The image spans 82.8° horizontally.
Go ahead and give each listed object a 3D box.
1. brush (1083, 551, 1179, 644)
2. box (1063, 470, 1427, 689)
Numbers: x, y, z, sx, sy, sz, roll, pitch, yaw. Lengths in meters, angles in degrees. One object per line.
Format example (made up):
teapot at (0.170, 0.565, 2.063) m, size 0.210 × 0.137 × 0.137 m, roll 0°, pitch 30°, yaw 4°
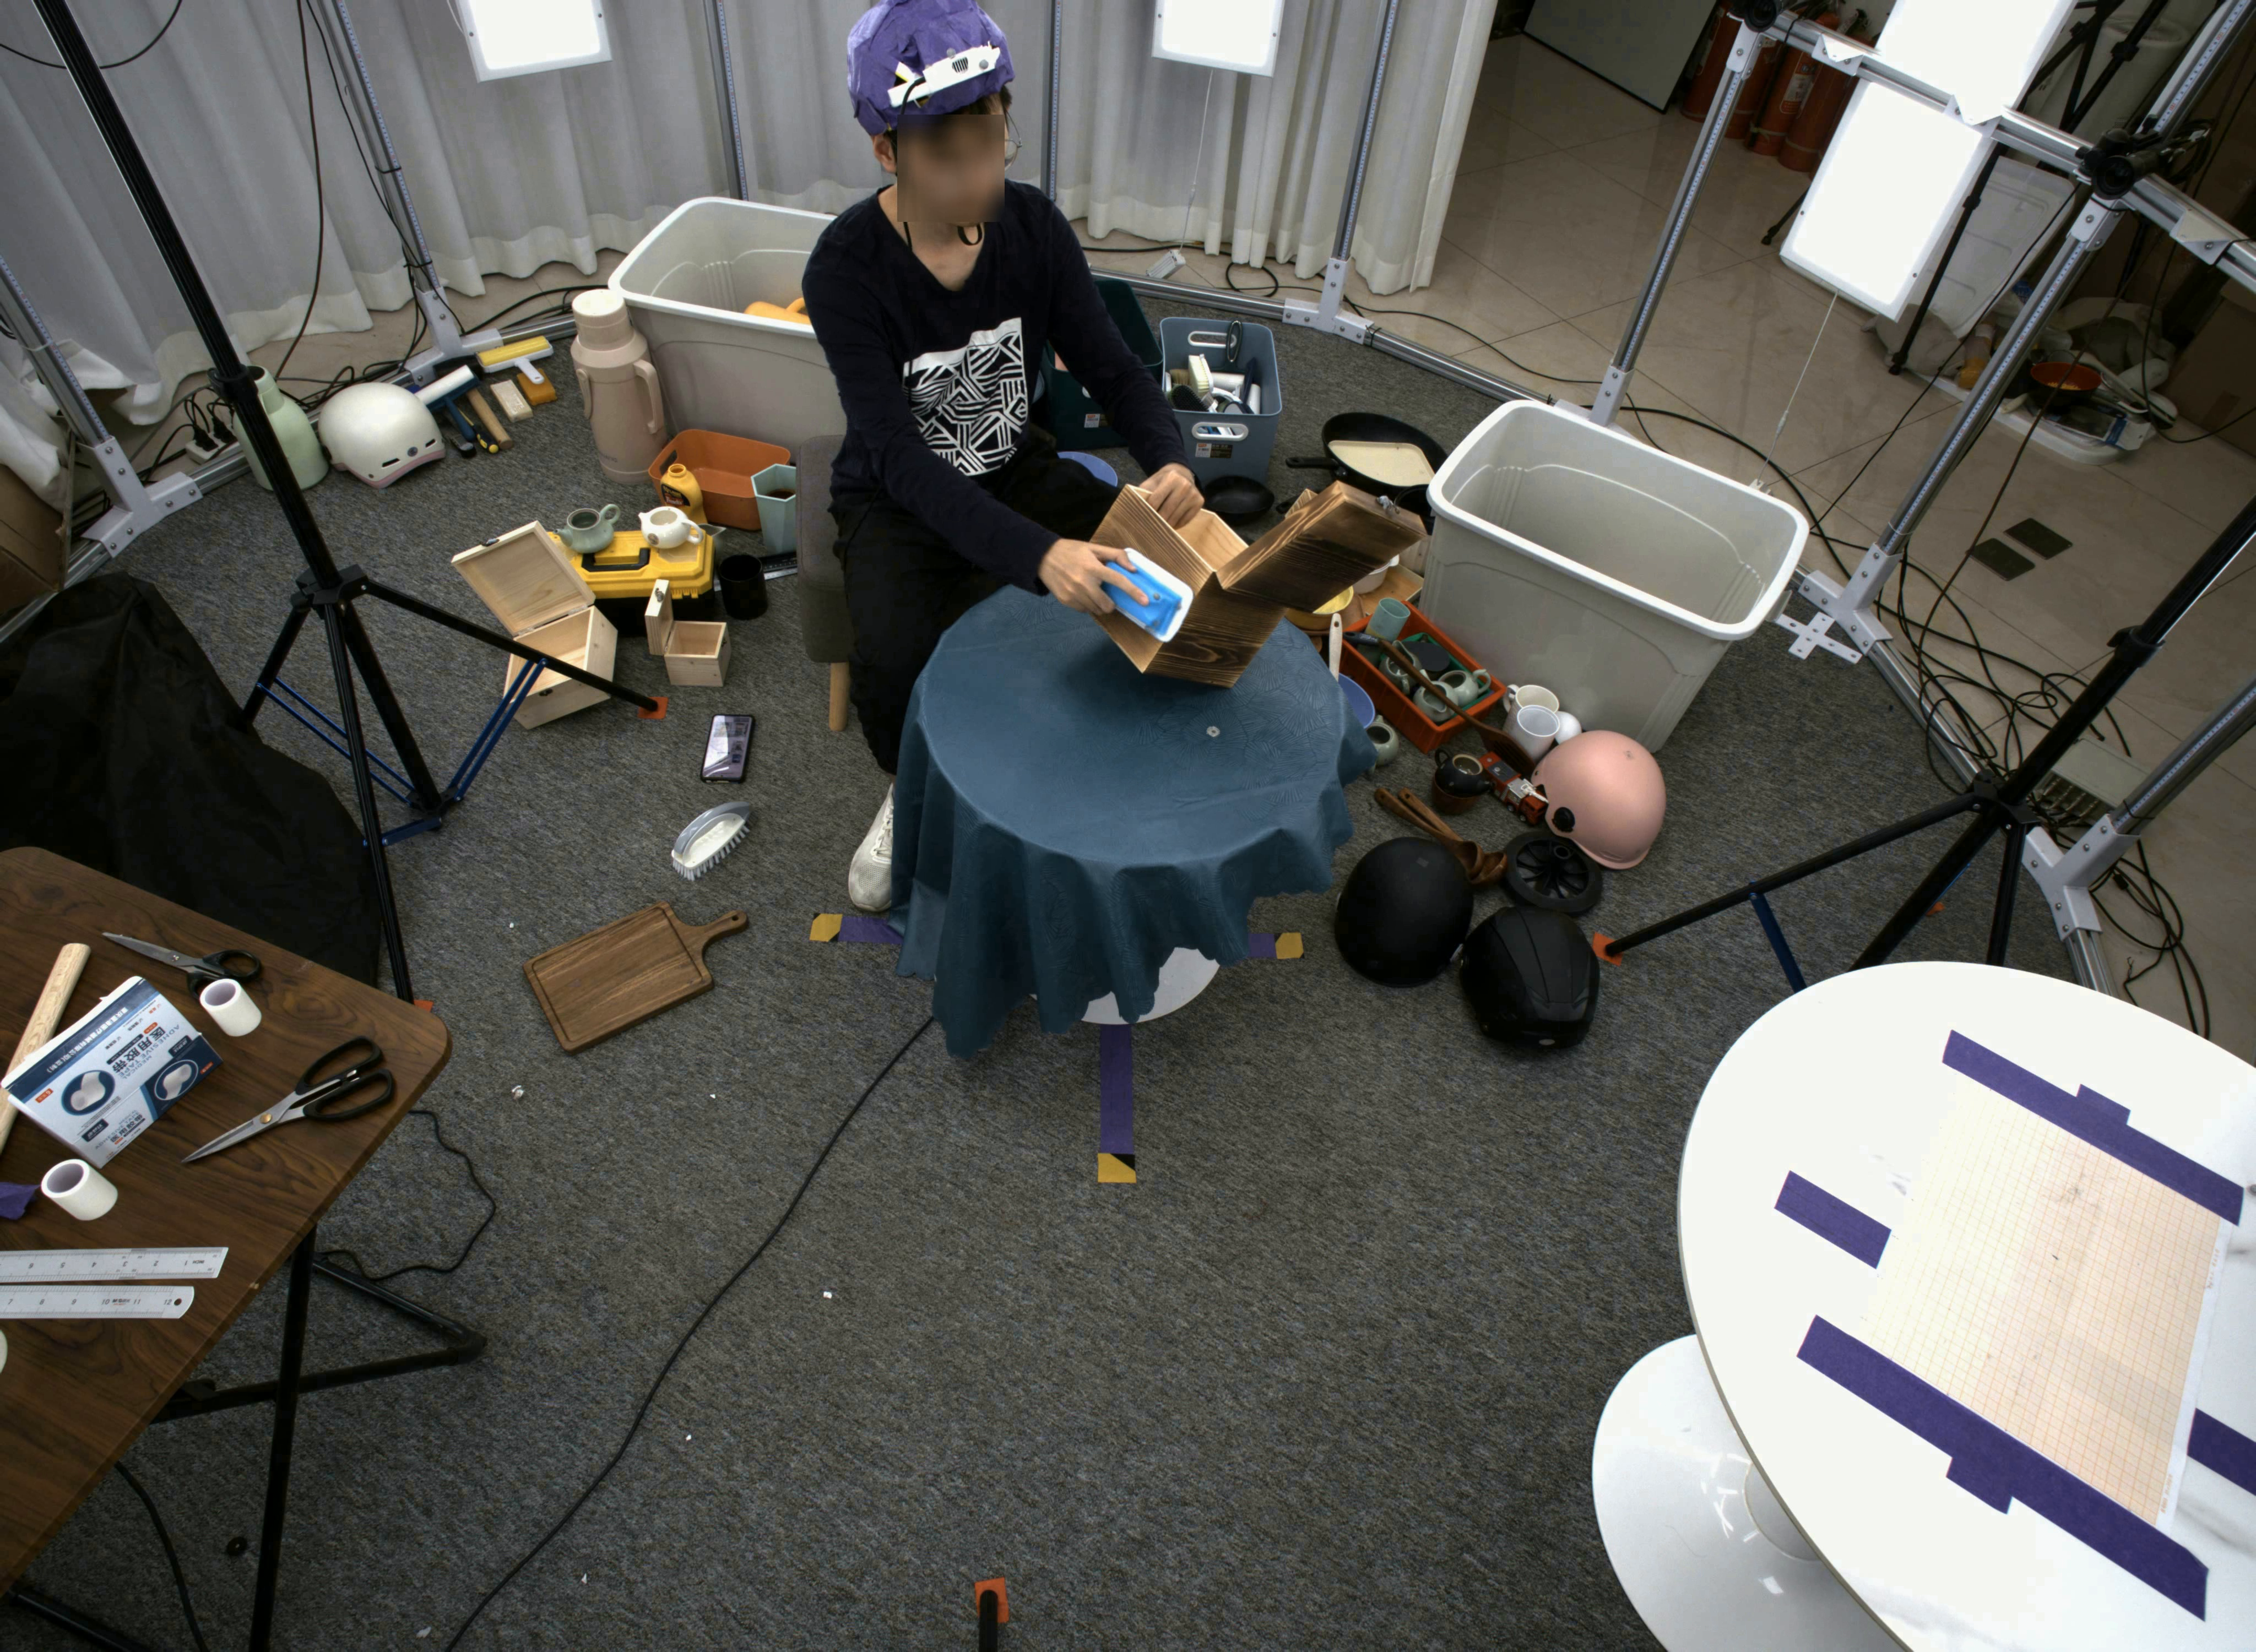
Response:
brush at (-0.005, -0.302, 1.678) m, size 0.146 × 0.083 × 0.055 m, roll 37°, pitch 17°, yaw 32°
box at (0.152, -0.366, 1.731) m, size 0.207 × 0.370 × 0.328 m, roll 4°, pitch 39°, yaw -49°
